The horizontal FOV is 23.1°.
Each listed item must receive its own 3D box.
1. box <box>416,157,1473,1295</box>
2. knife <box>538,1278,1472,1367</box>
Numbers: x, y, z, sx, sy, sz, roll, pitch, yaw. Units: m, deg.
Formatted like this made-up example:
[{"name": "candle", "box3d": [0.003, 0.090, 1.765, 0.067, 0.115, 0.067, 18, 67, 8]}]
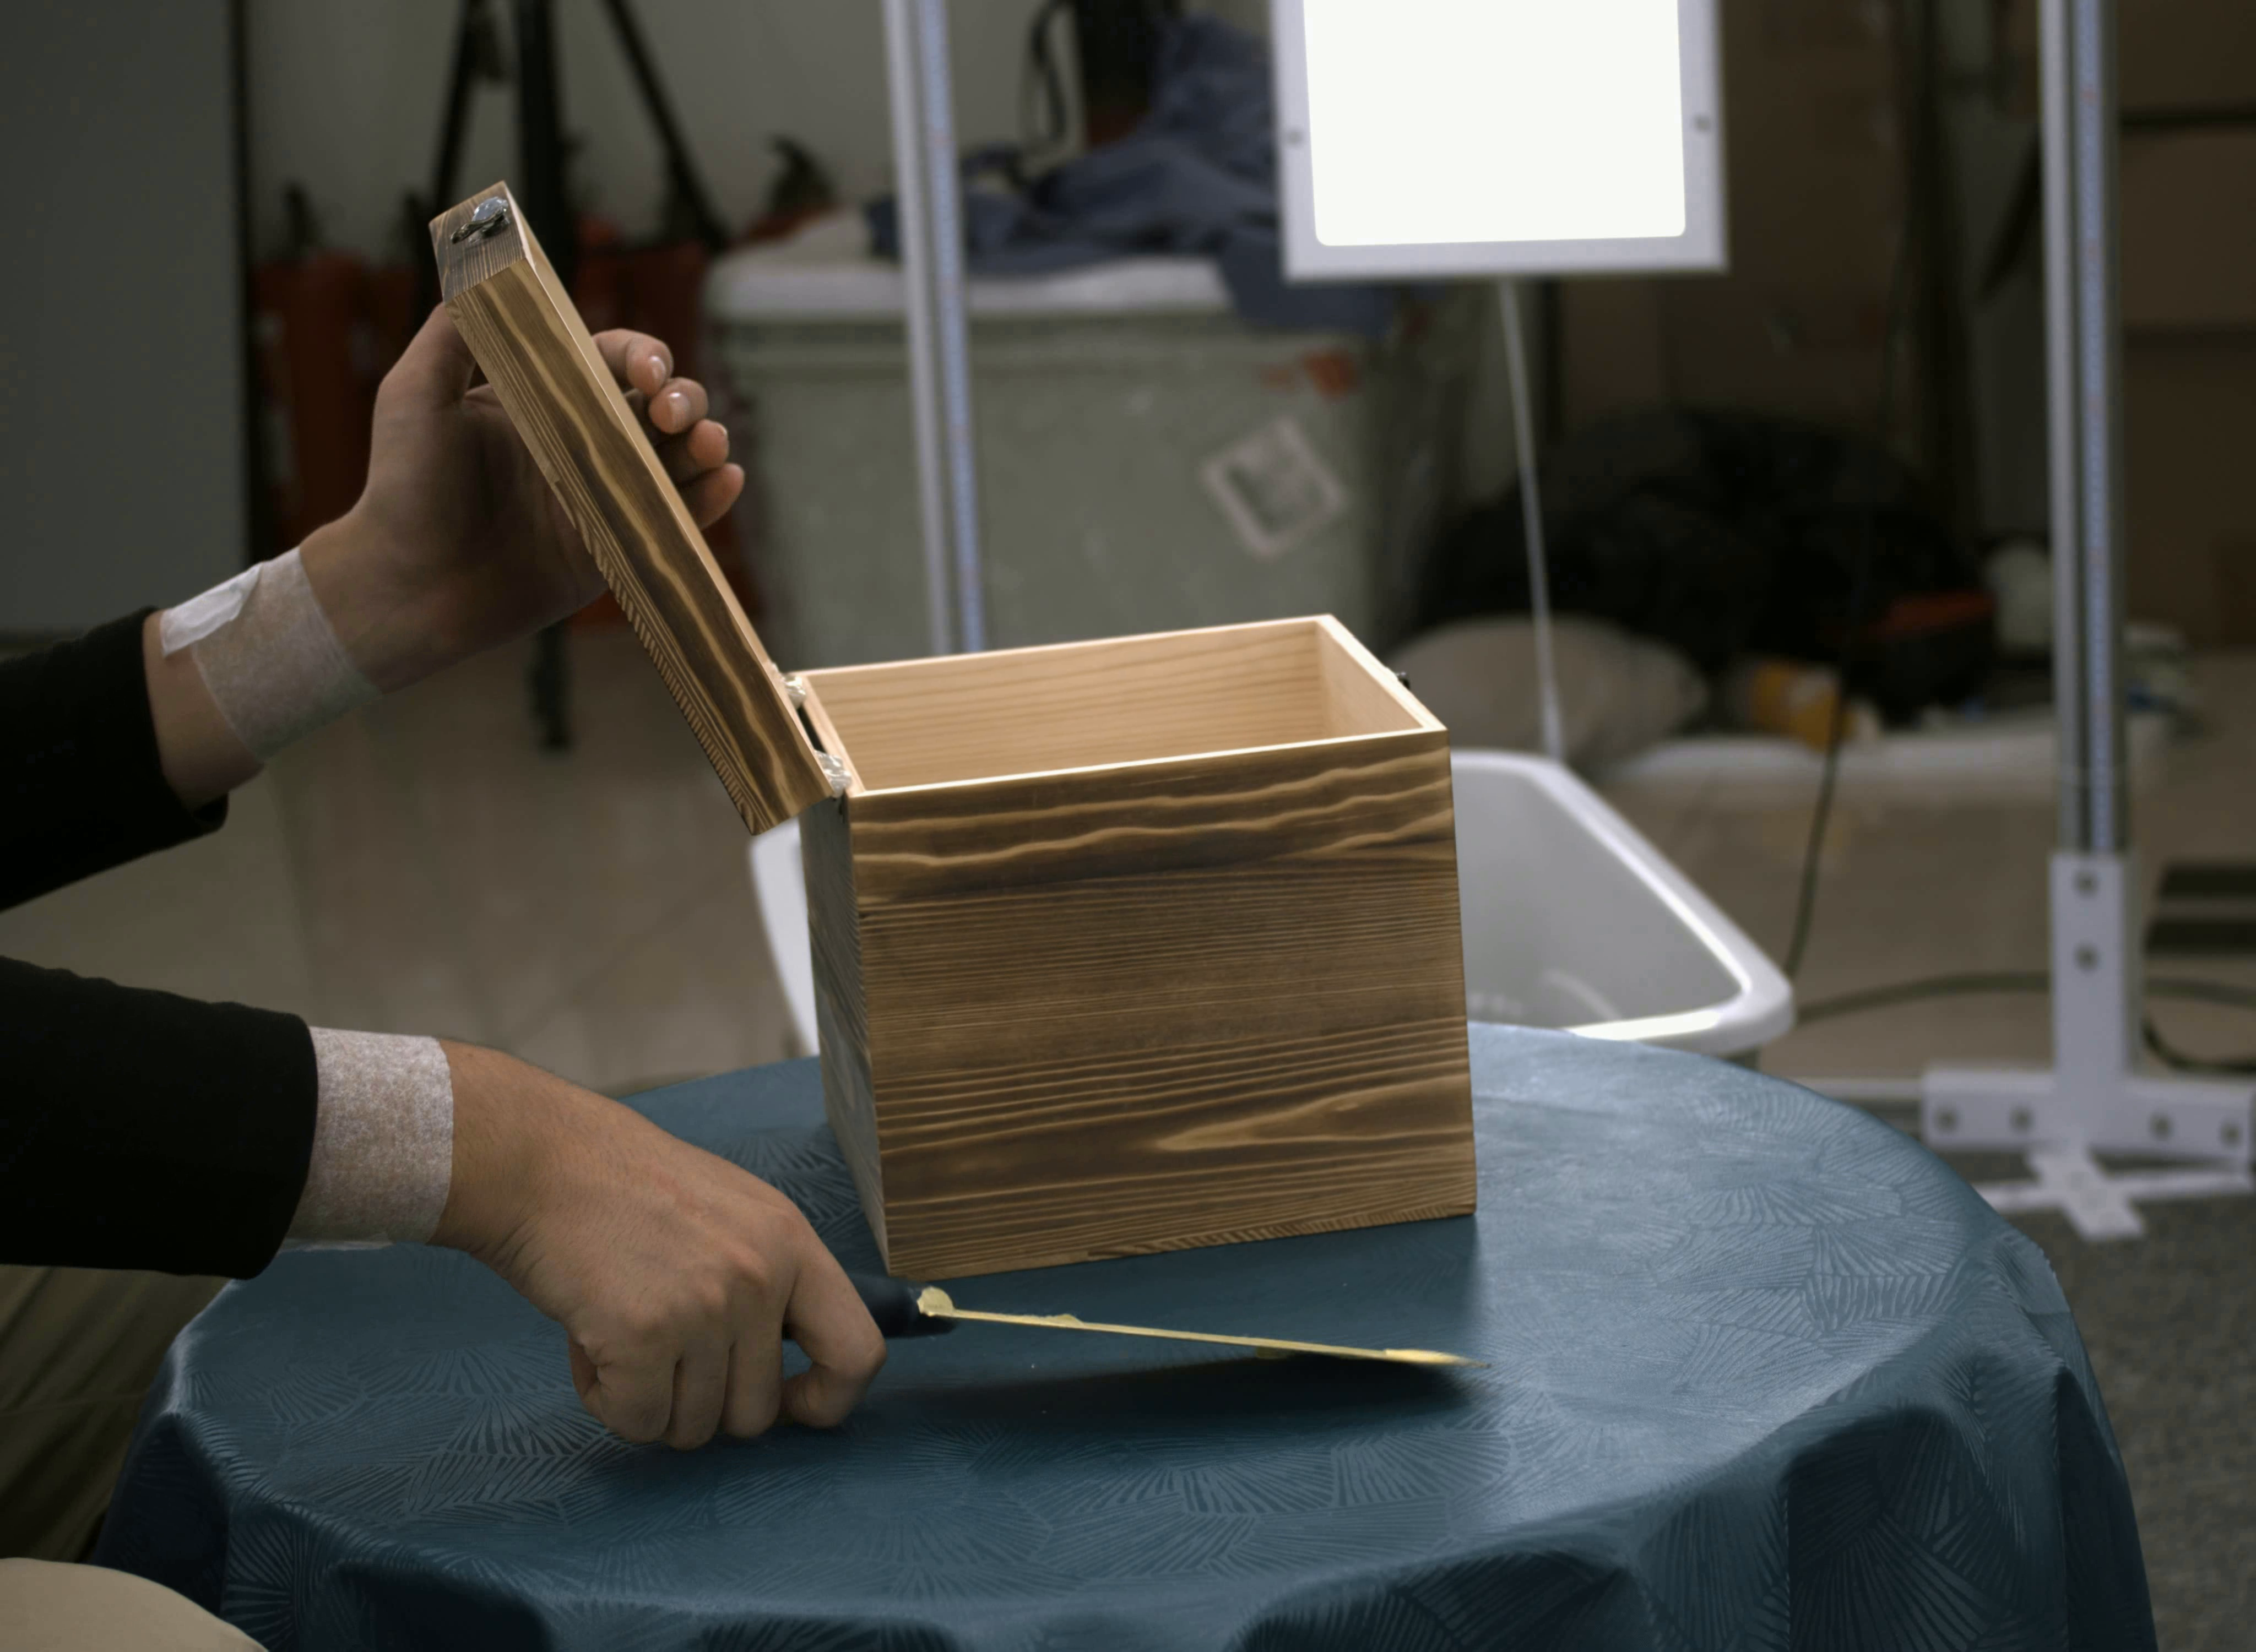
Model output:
[{"name": "box", "box3d": [-0.059, -0.048, 1.876, 0.319, 0.377, 0.209, -7, 15, -6]}, {"name": "knife", "box3d": [-0.038, 0.155, 1.689, 0.289, 0.027, 0.081, 2, -8, 2]}]
